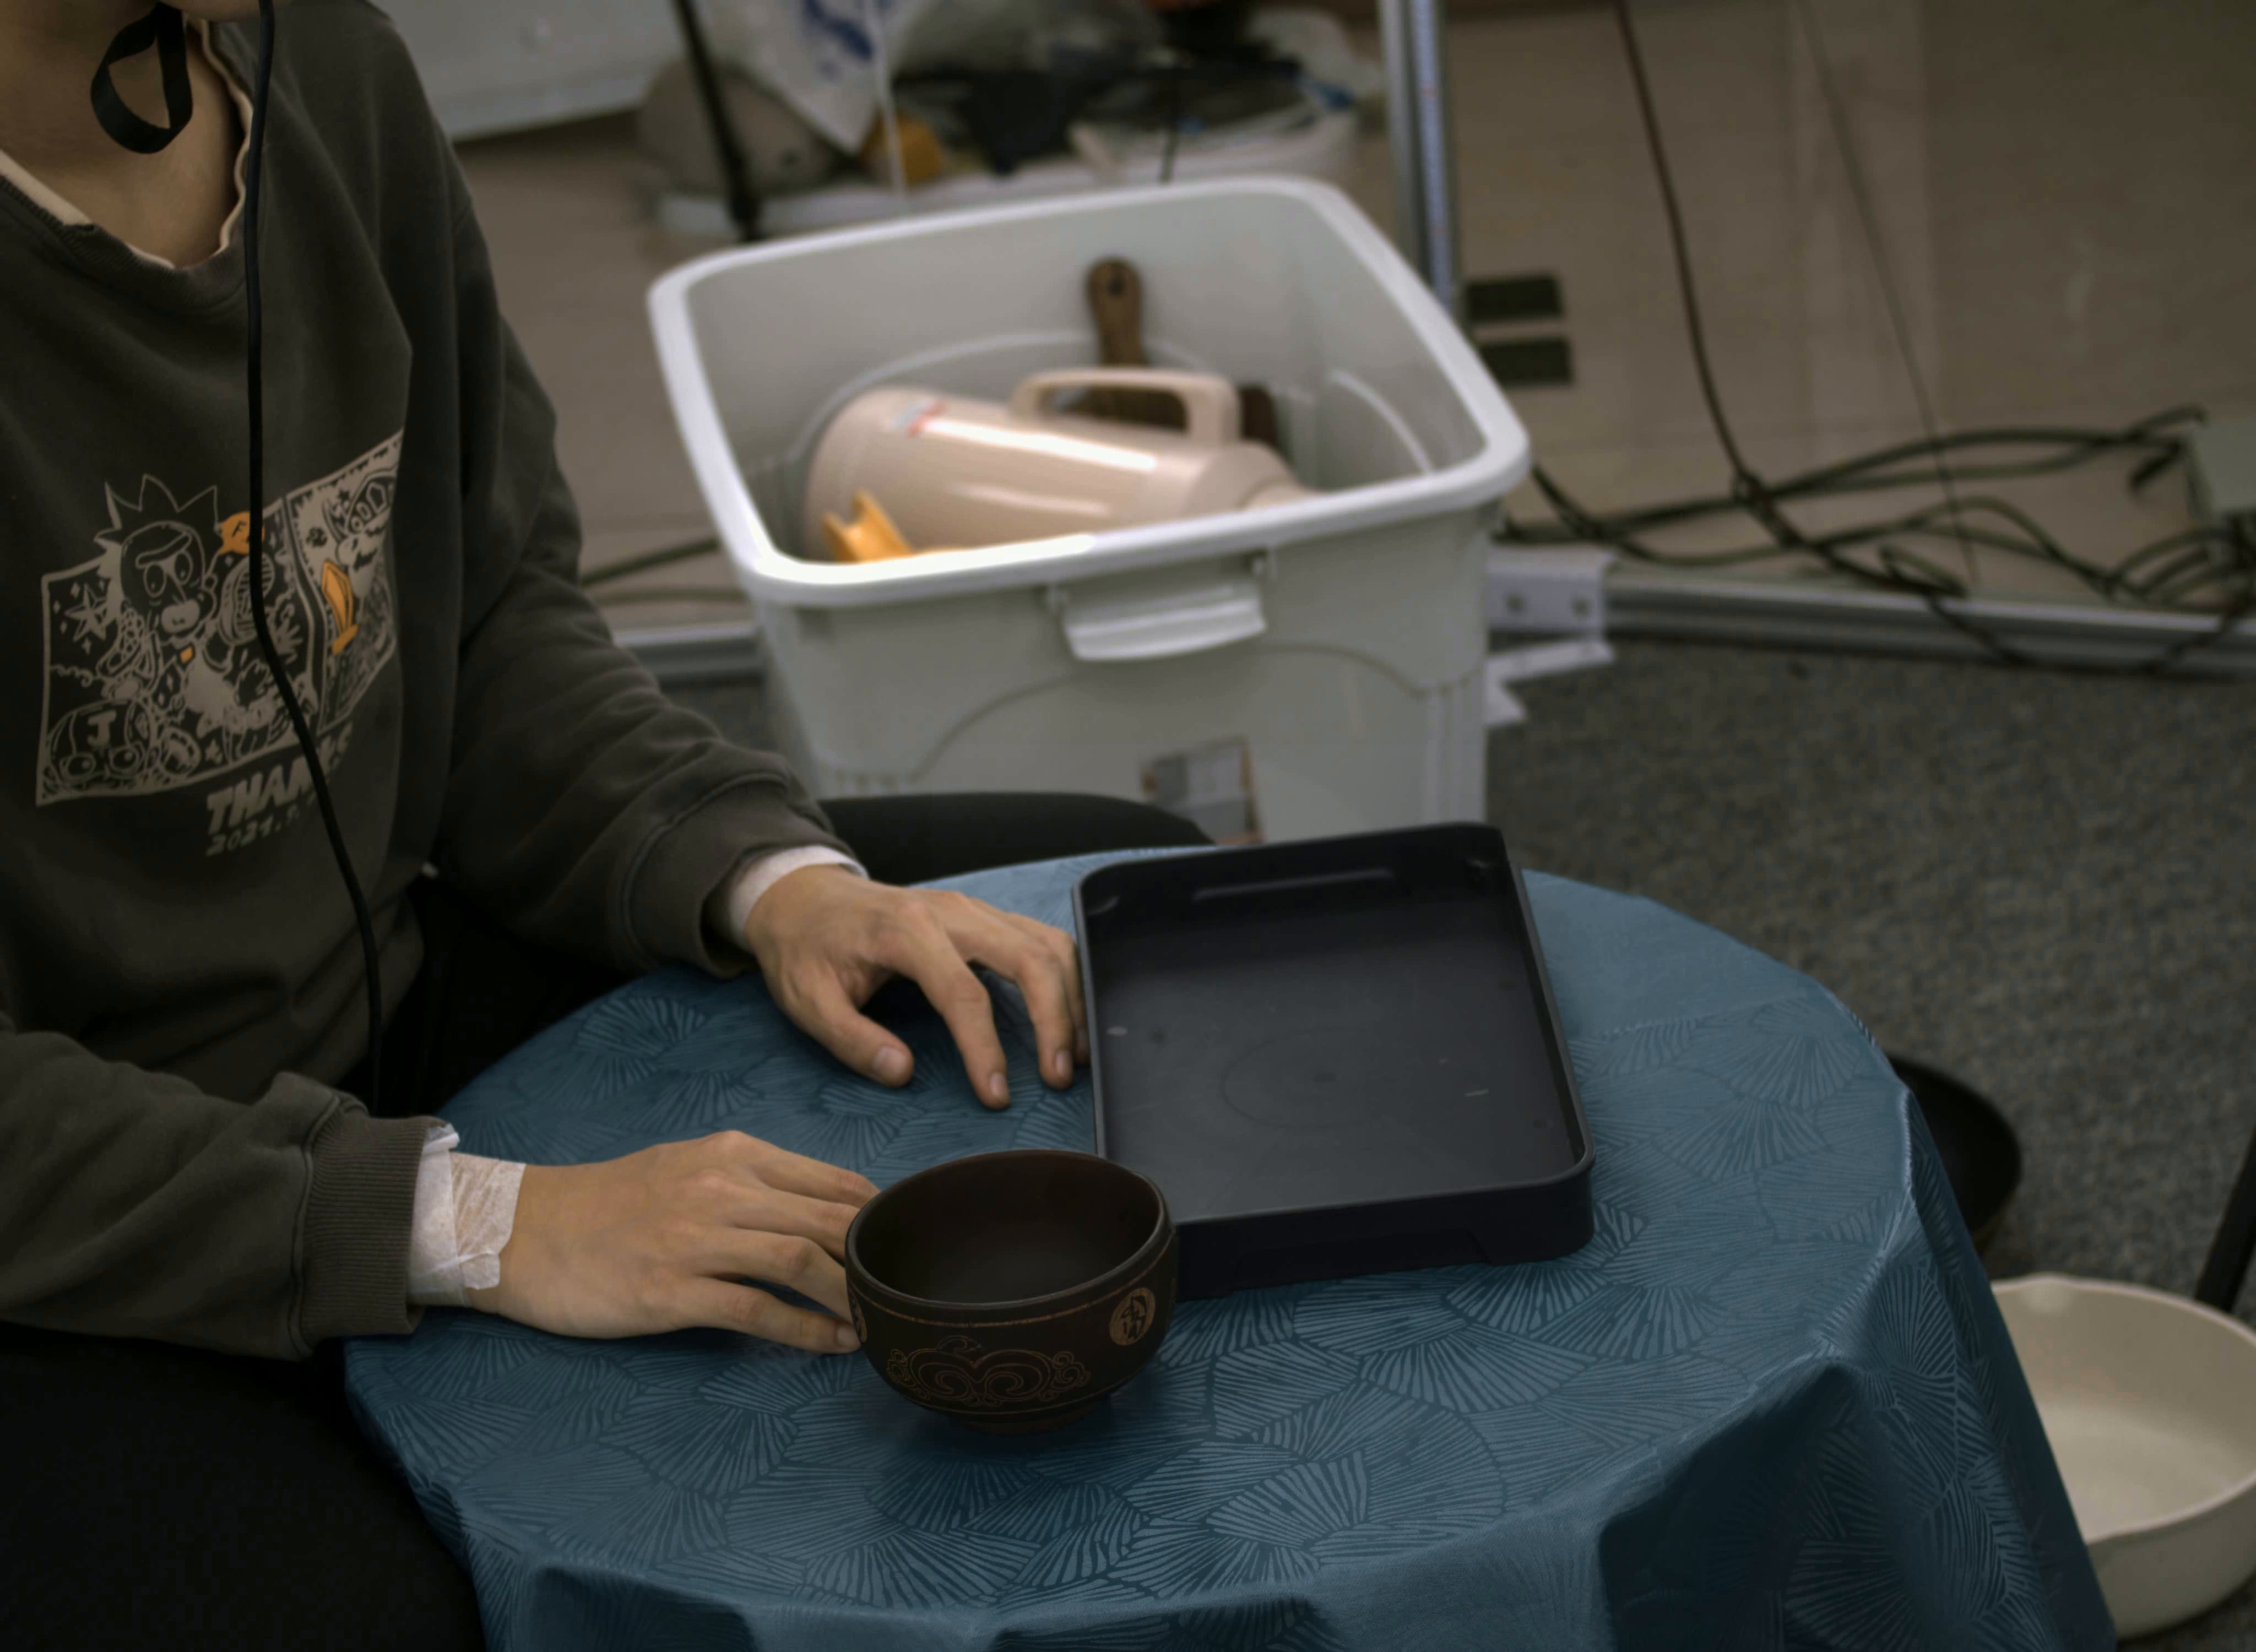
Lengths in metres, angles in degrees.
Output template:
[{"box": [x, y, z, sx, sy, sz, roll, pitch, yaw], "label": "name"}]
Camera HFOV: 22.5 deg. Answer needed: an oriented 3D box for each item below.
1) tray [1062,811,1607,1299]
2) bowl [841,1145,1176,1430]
[{"box": [0.076, 0.084, 2.203, 0.184, 0.037, 0.313, -8, 25, -1], "label": "tray"}, {"box": [-0.040, 0.170, 2.005, 0.118, 0.071, 0.116, -7, 25, 3], "label": "bowl"}]
